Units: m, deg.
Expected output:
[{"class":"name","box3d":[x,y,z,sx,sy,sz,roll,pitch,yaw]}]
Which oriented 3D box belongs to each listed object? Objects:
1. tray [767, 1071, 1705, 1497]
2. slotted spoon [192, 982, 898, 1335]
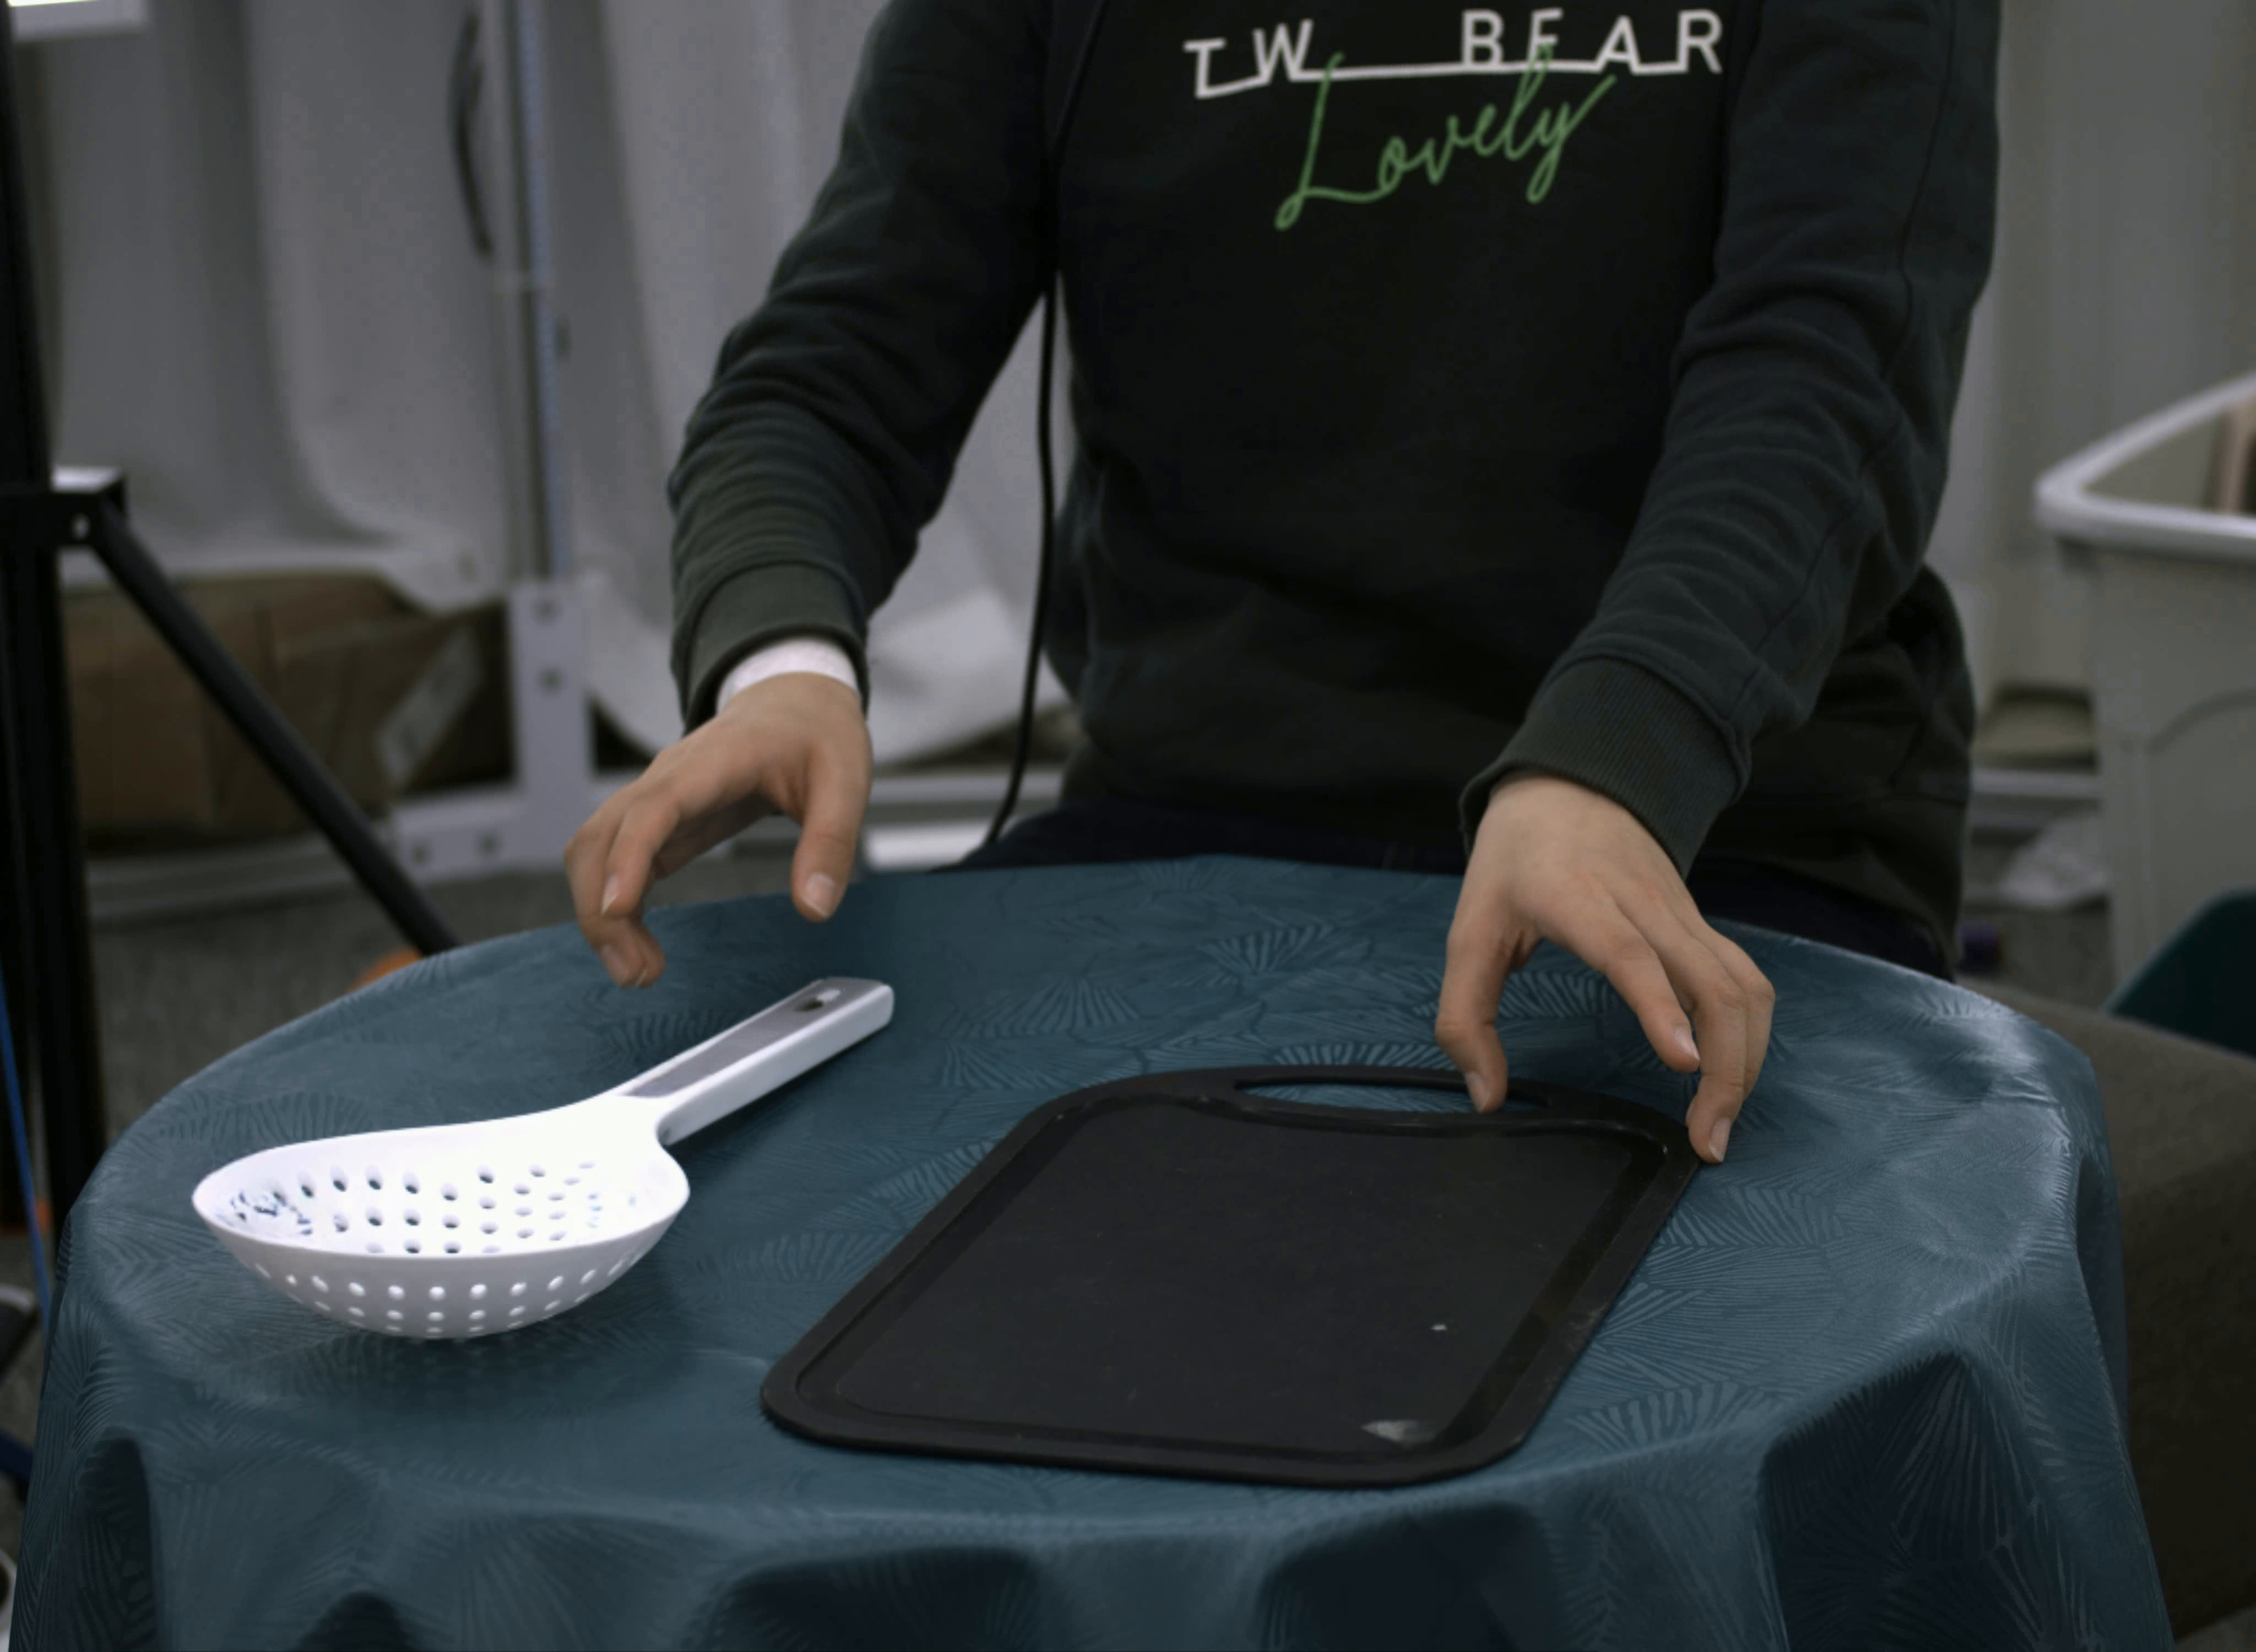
[{"class":"tray","box3d":[0.039,0.120,1.497,0.213,0.010,0.322,3,16,19]},{"class":"slotted spoon","box3d":[-0.150,0.088,1.570,0.138,0.046,0.345,6,17,21]}]
